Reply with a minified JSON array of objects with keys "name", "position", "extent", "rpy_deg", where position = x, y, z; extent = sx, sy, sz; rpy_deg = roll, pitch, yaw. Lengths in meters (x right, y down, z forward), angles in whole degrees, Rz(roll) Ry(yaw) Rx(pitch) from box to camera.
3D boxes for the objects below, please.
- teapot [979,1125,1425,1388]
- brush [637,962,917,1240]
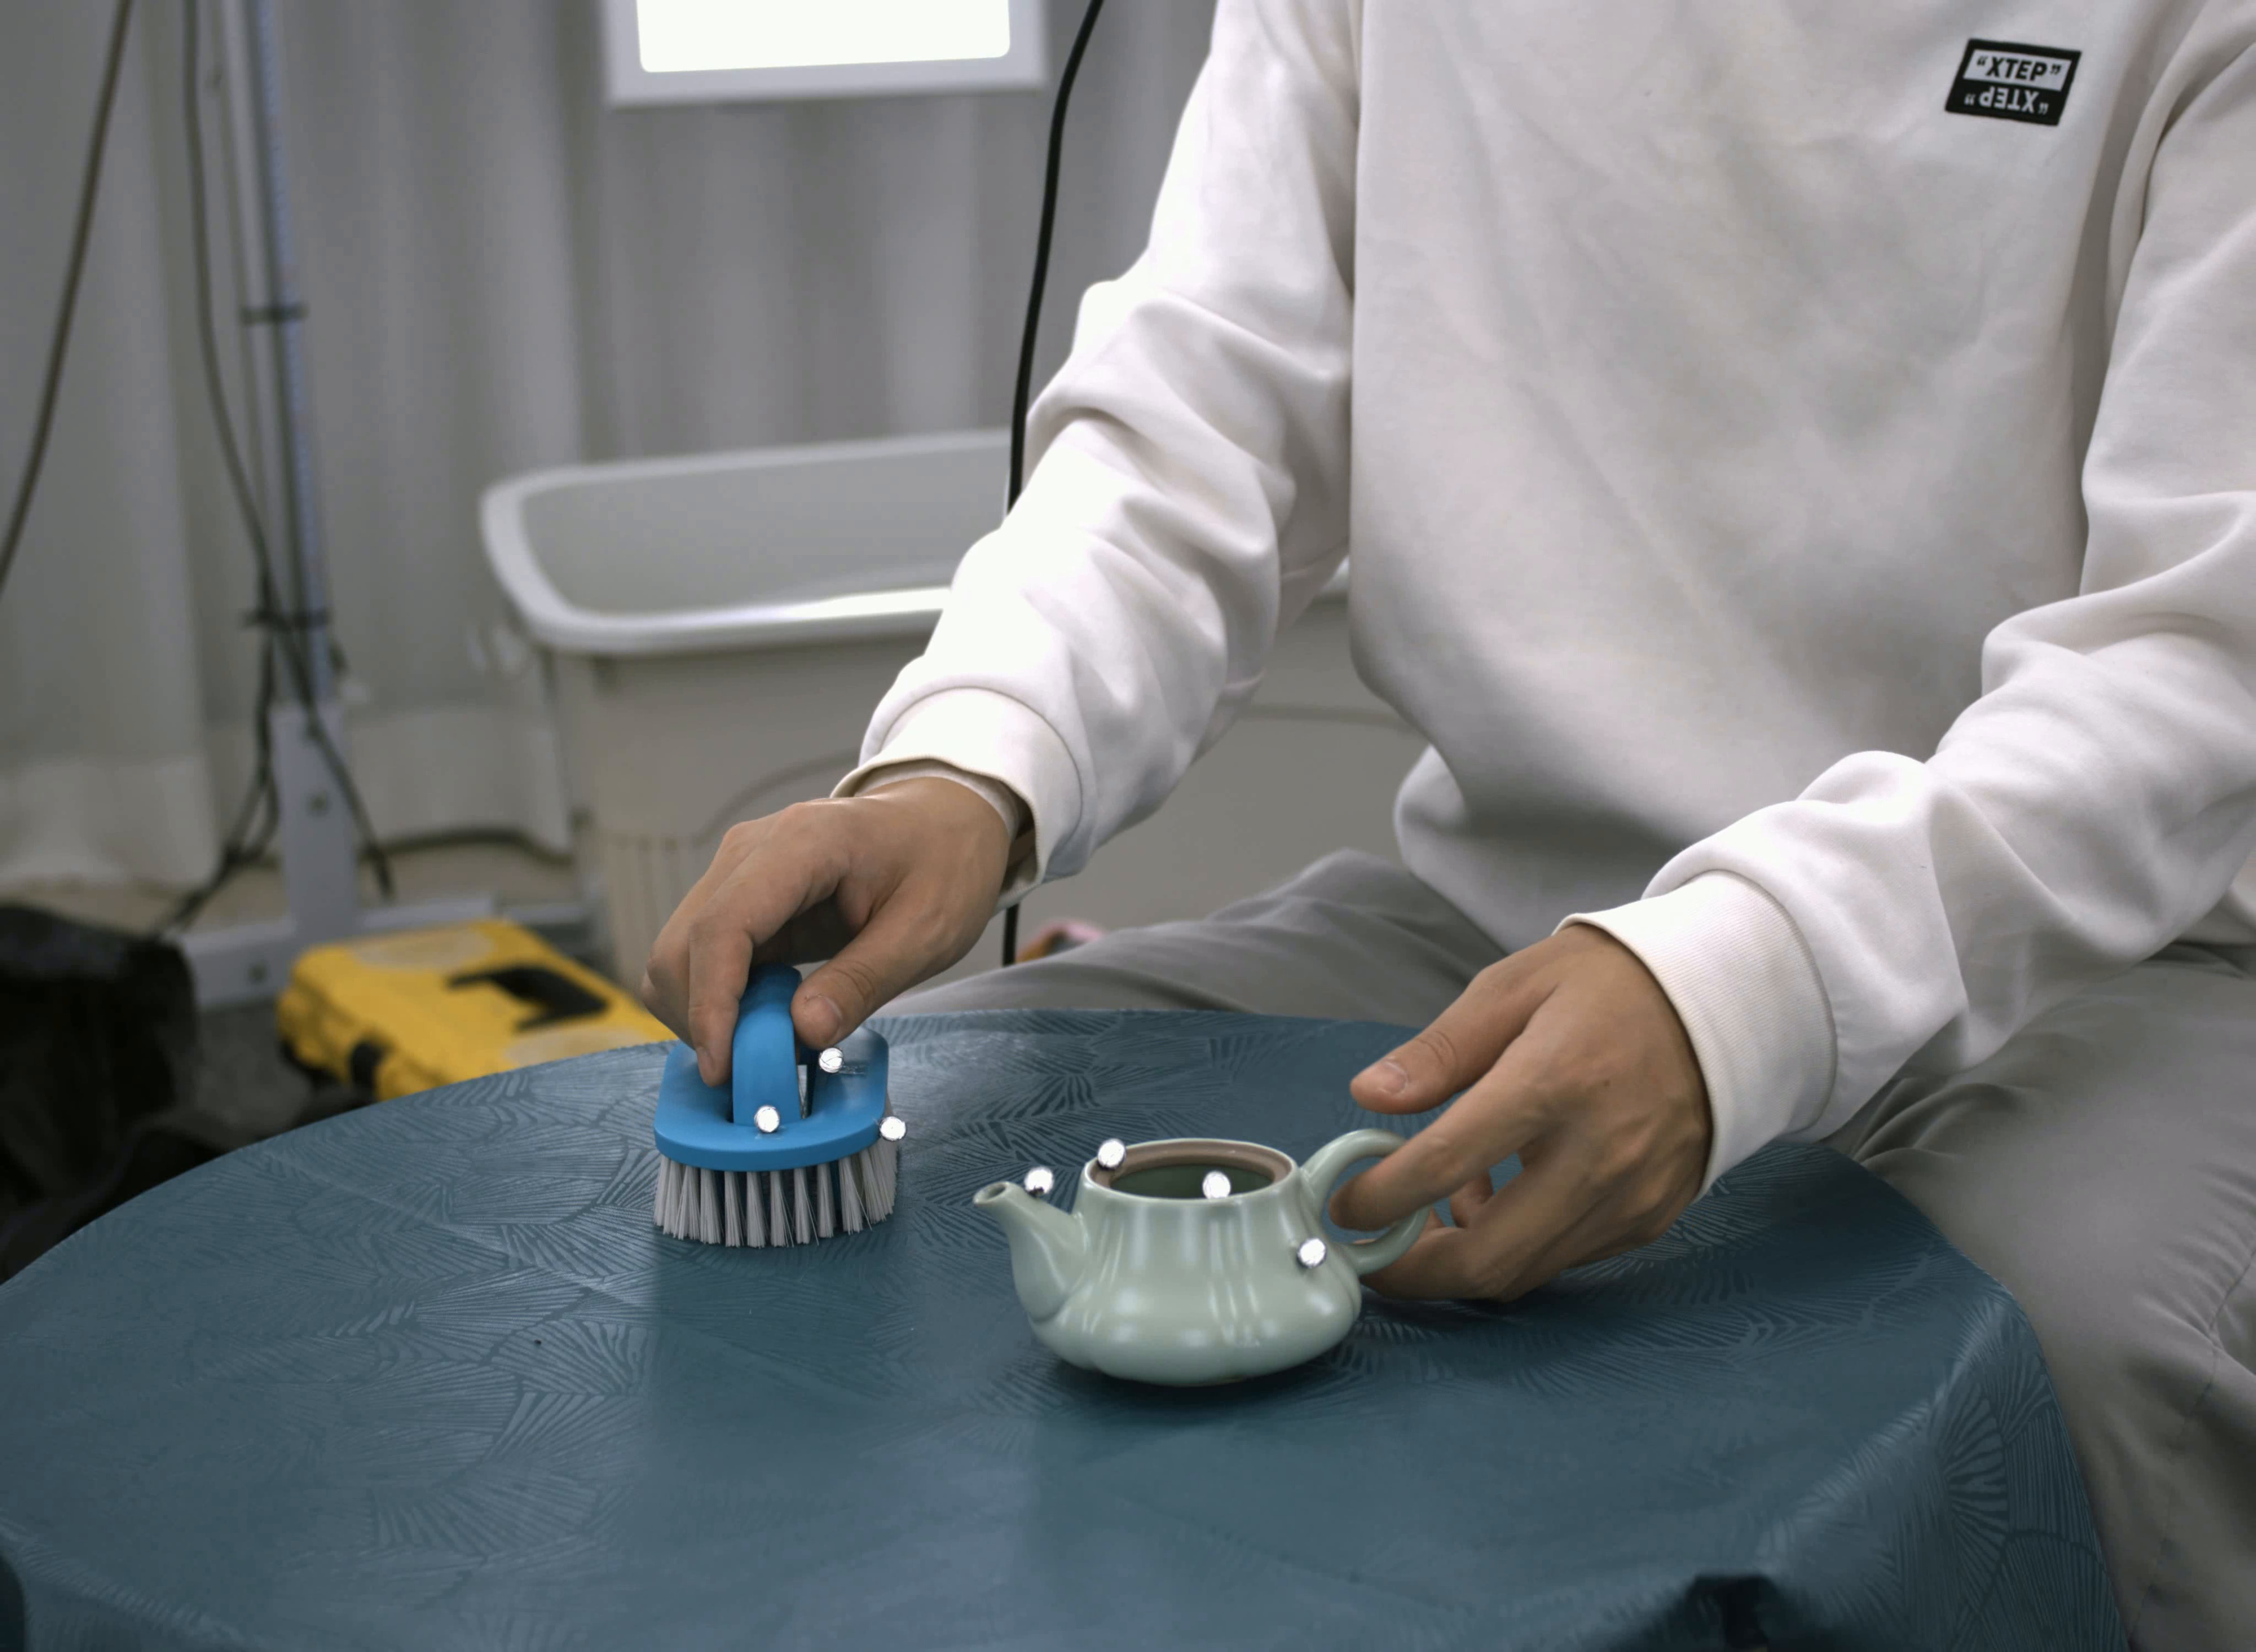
[{"name":"teapot","position":[0.023,0.123,1.566],"extent":[0.136,0.061,0.097],"rpy_deg":[-8,13,-19]},{"name":"brush","position":[-0.113,0.081,1.740],"extent":[0.084,0.063,0.142],"rpy_deg":[-8,13,2]}]
